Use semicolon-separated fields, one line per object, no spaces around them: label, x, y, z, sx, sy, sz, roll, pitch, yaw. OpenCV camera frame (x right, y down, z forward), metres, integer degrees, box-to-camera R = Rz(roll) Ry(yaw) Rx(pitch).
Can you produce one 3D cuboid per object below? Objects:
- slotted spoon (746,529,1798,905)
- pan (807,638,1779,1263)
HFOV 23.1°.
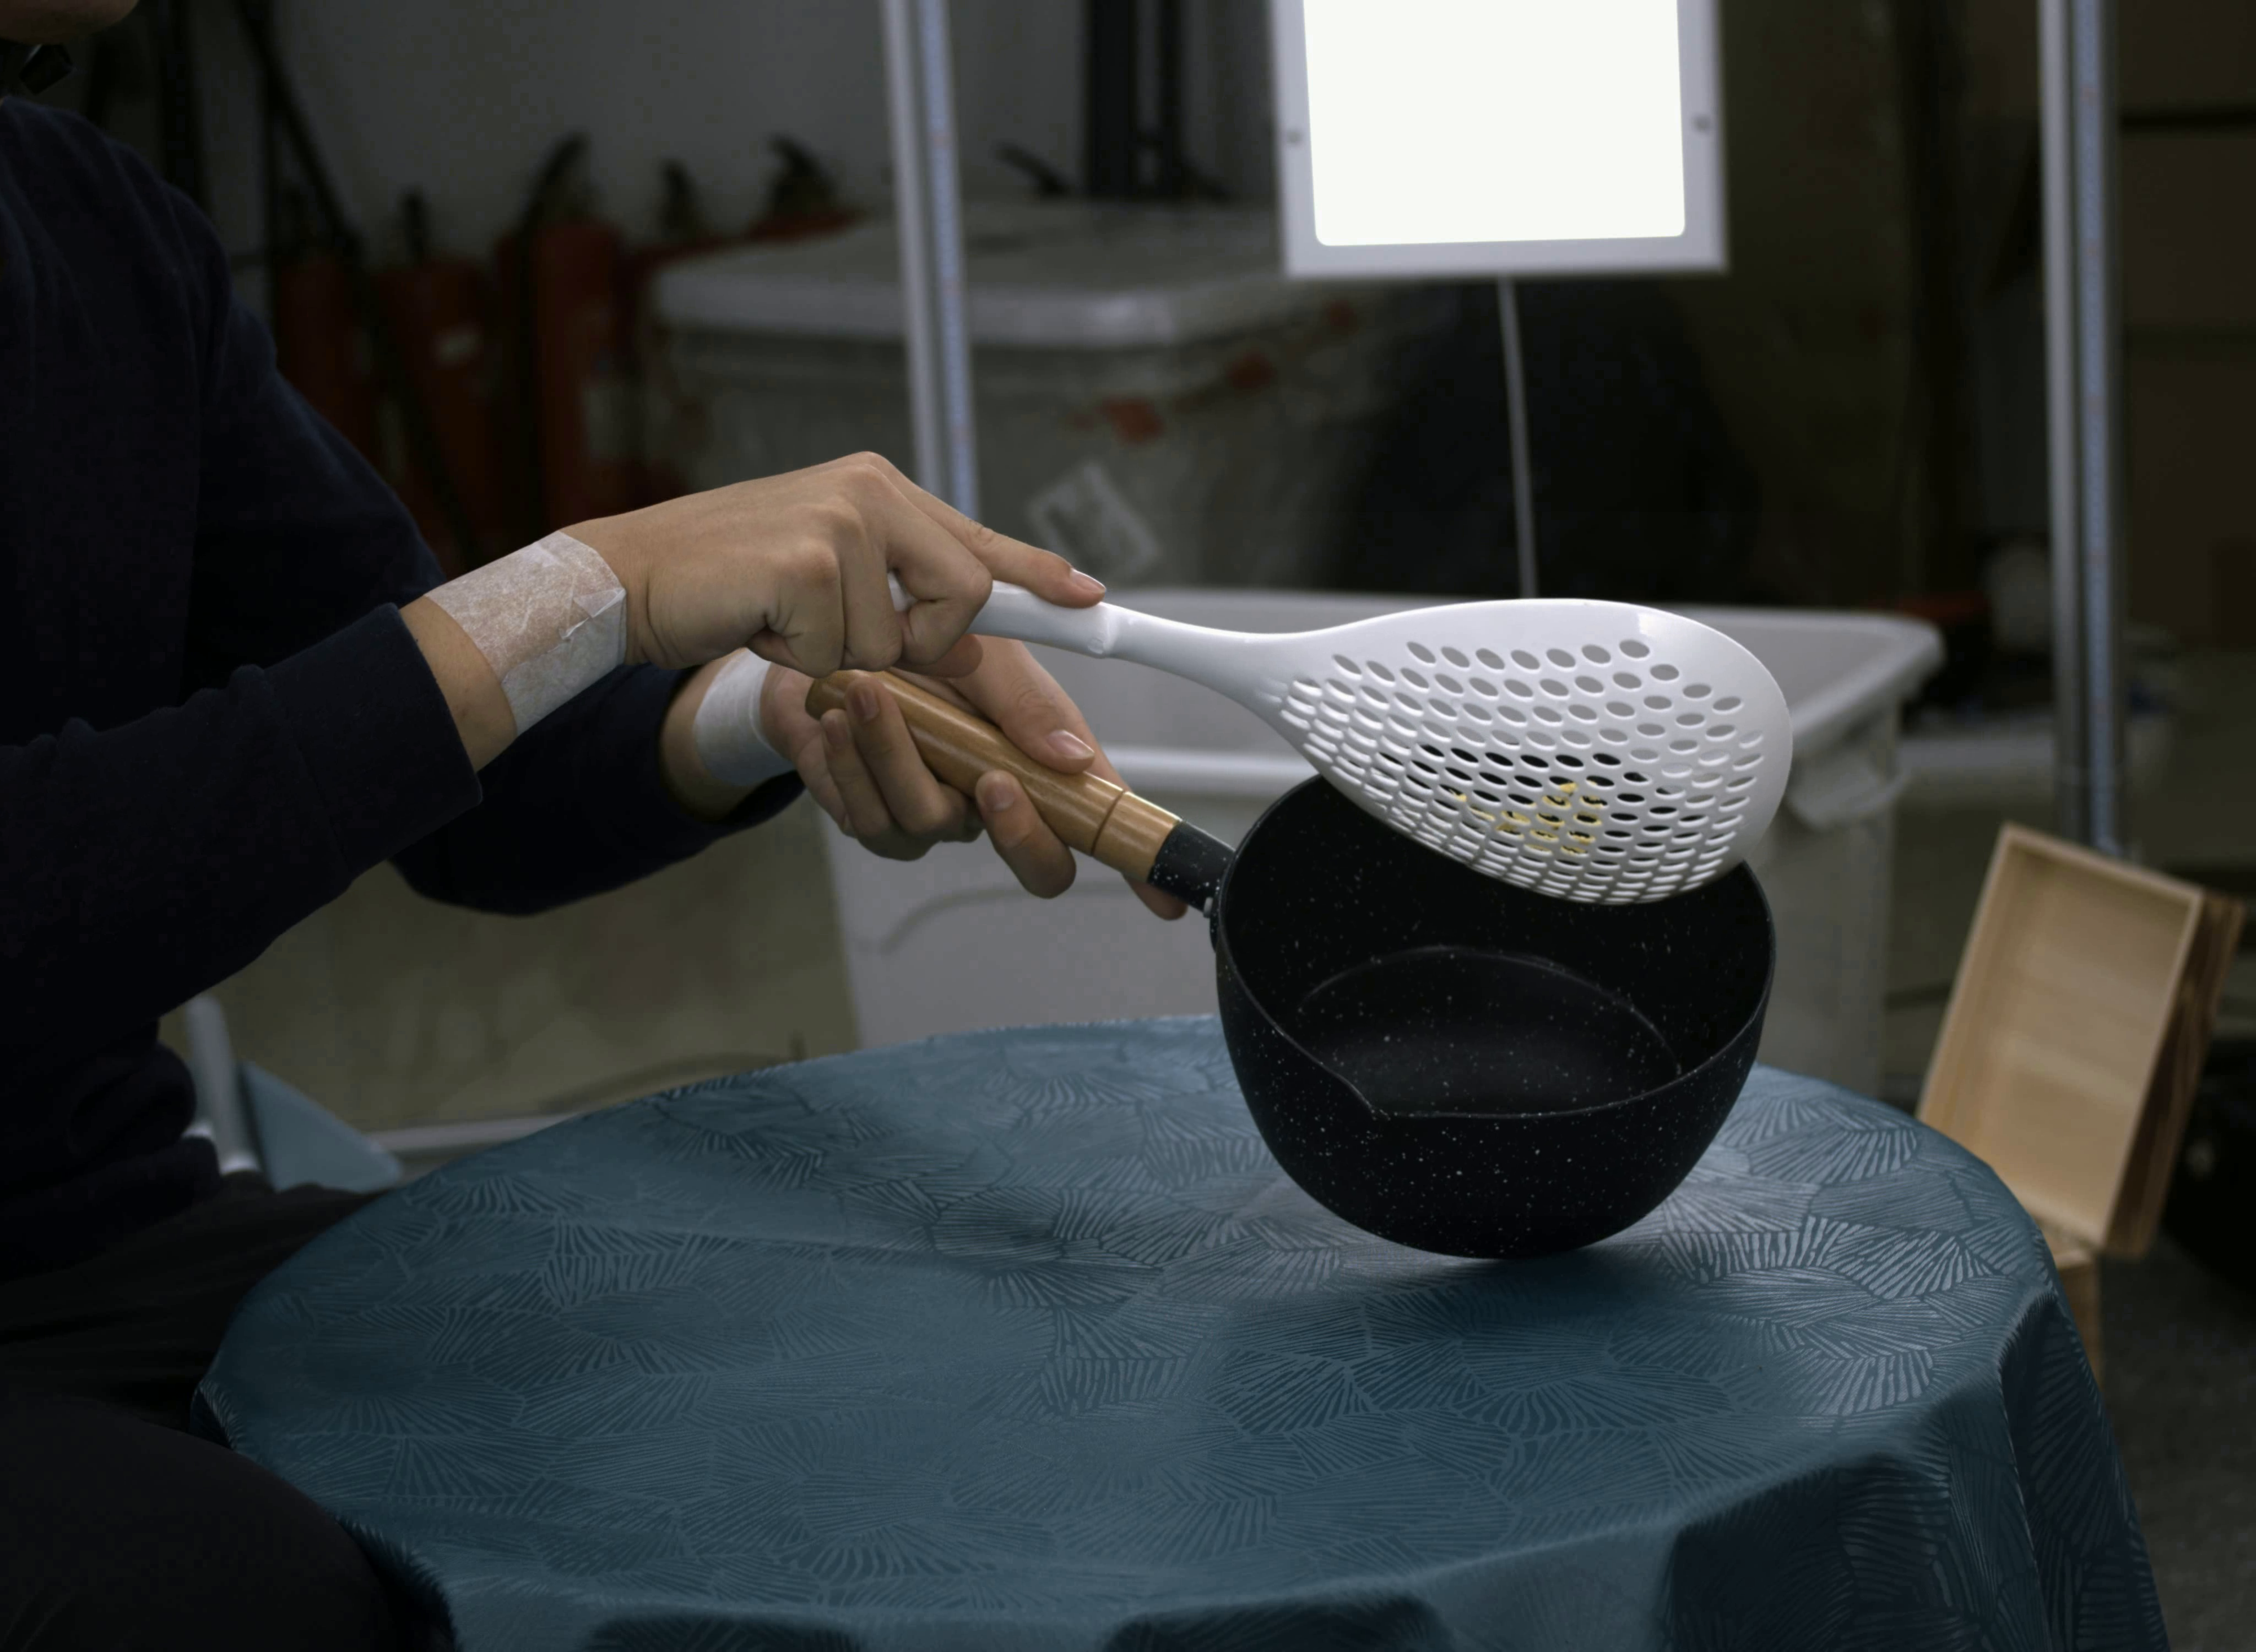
slotted spoon;0.046;-0.047;1.787;0.347;0.138;0.050;18;46;1
pan;0.047;0.031;1.838;0.346;0.109;0.204;17;45;16
